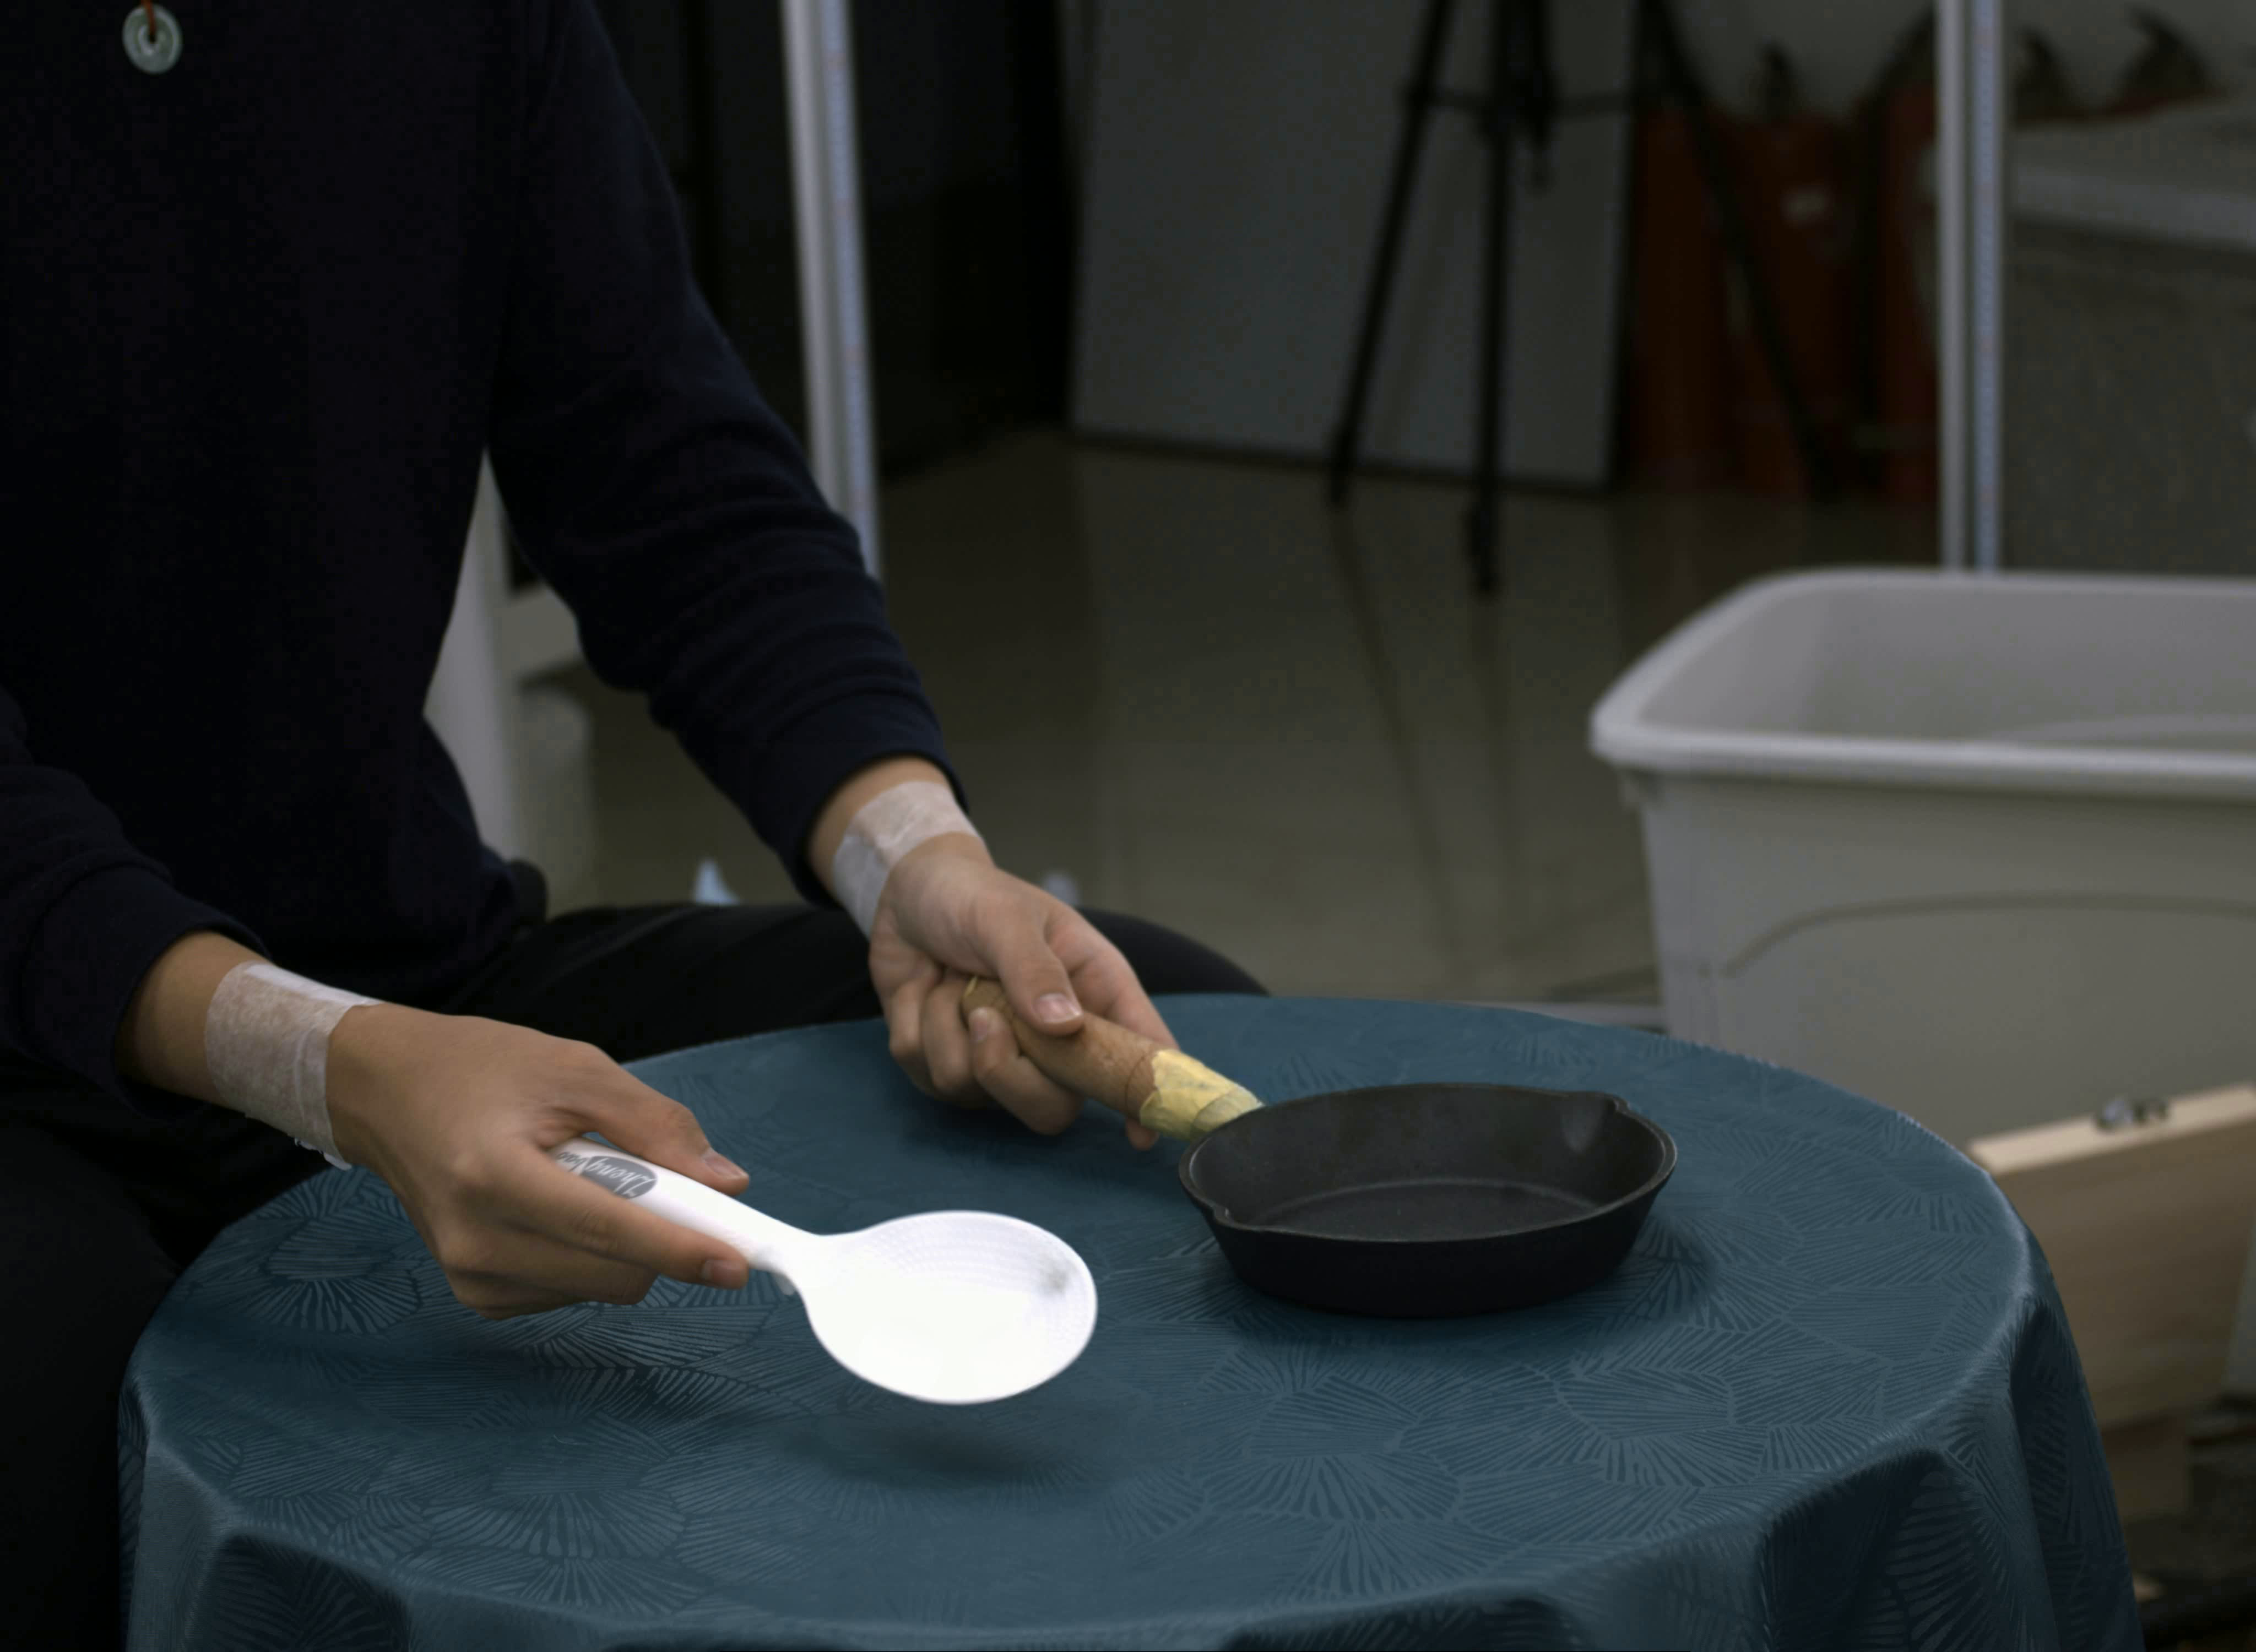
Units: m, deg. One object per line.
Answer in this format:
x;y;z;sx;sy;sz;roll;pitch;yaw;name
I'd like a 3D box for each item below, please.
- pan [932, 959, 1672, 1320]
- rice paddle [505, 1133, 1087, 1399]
0.041;0.097;1.749;0.165;0.050;0.327;-14;19;-36;pan
-0.097;0.124;1.580;0.206;0.029;0.069;12;57;36;rice paddle
